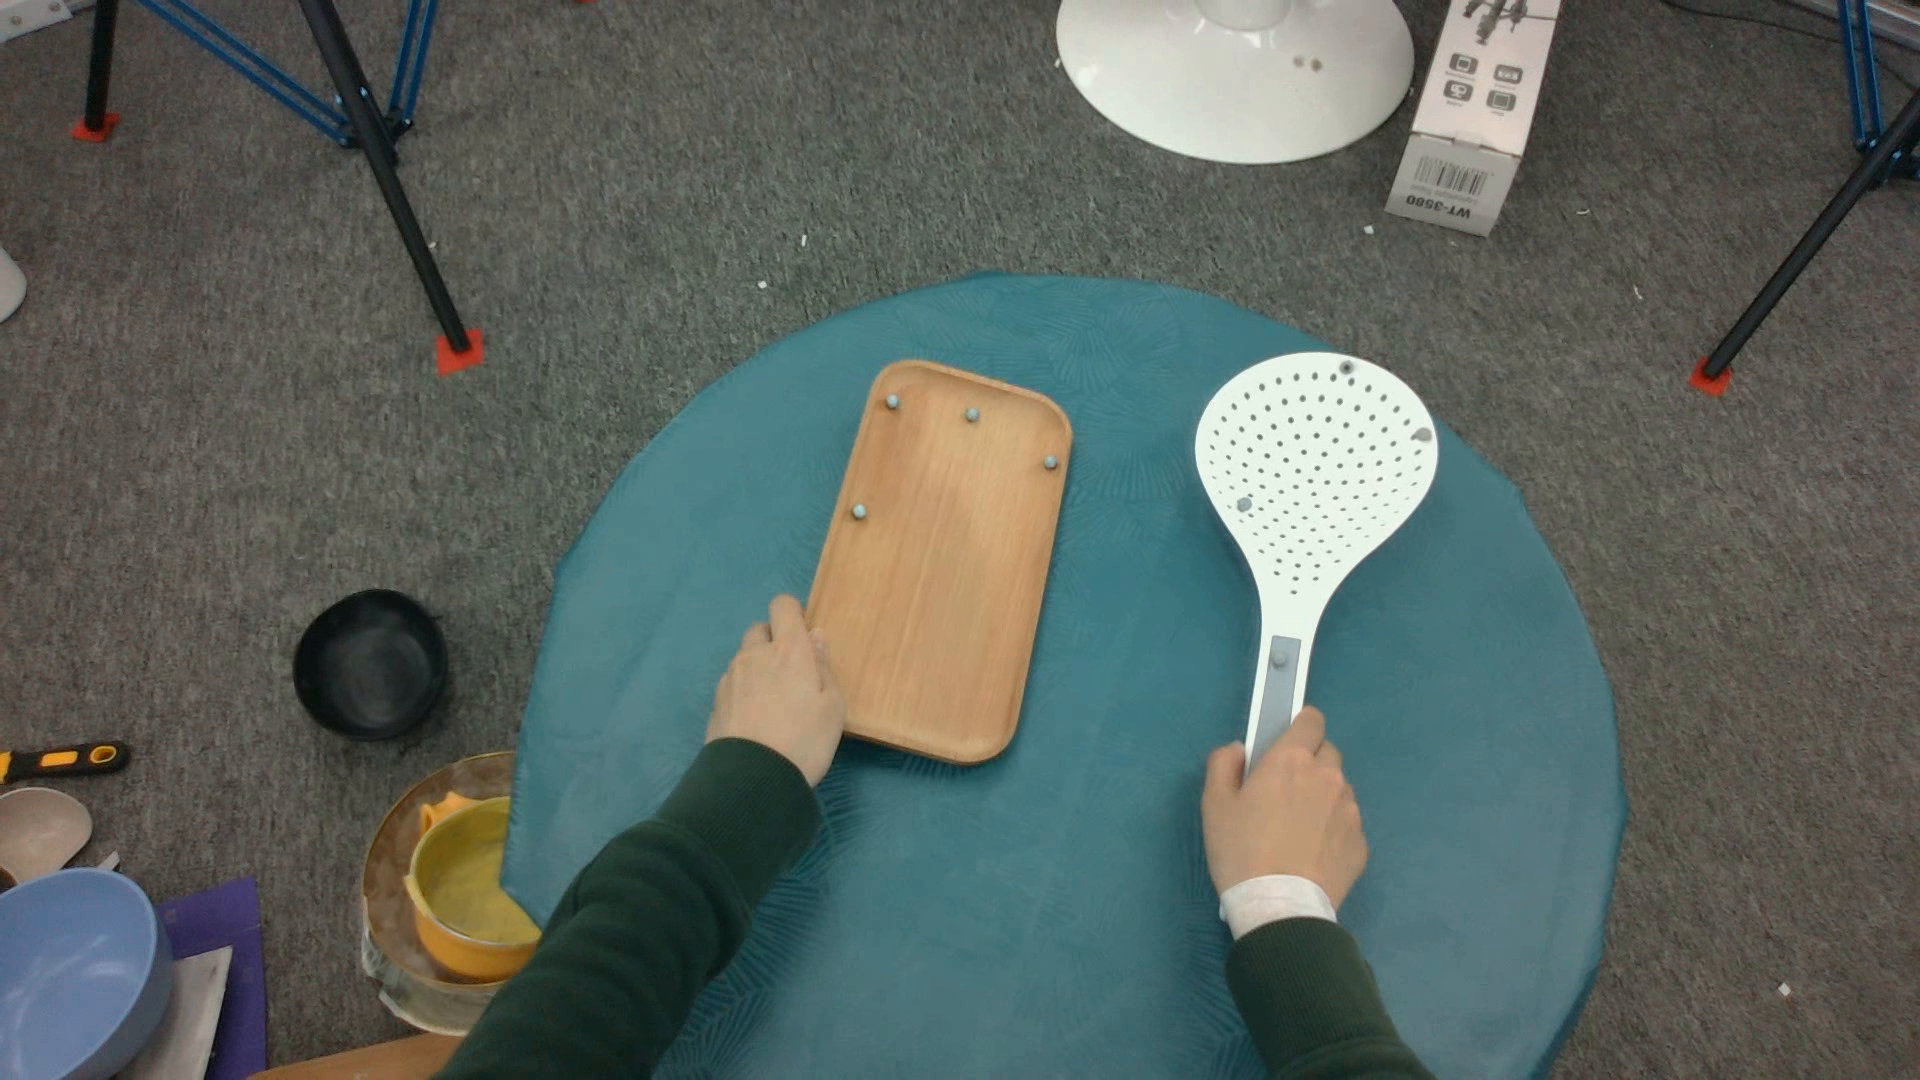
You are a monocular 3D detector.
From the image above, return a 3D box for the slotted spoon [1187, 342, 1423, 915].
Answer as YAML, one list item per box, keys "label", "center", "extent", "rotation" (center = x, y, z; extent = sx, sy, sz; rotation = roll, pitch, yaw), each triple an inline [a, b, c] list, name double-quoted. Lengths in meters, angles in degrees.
- label: "slotted spoon"
  center: [0.176, 0.035, 0.765]
  extent: [0.136, 0.045, 0.351]
  rotation: [8, 57, 15]

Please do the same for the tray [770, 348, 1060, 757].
- label: "tray"
  center: [-0.020, 0.000, 0.788]
  extent: [0.130, 0.023, 0.252]
  rotation: [15, 59, -2]
